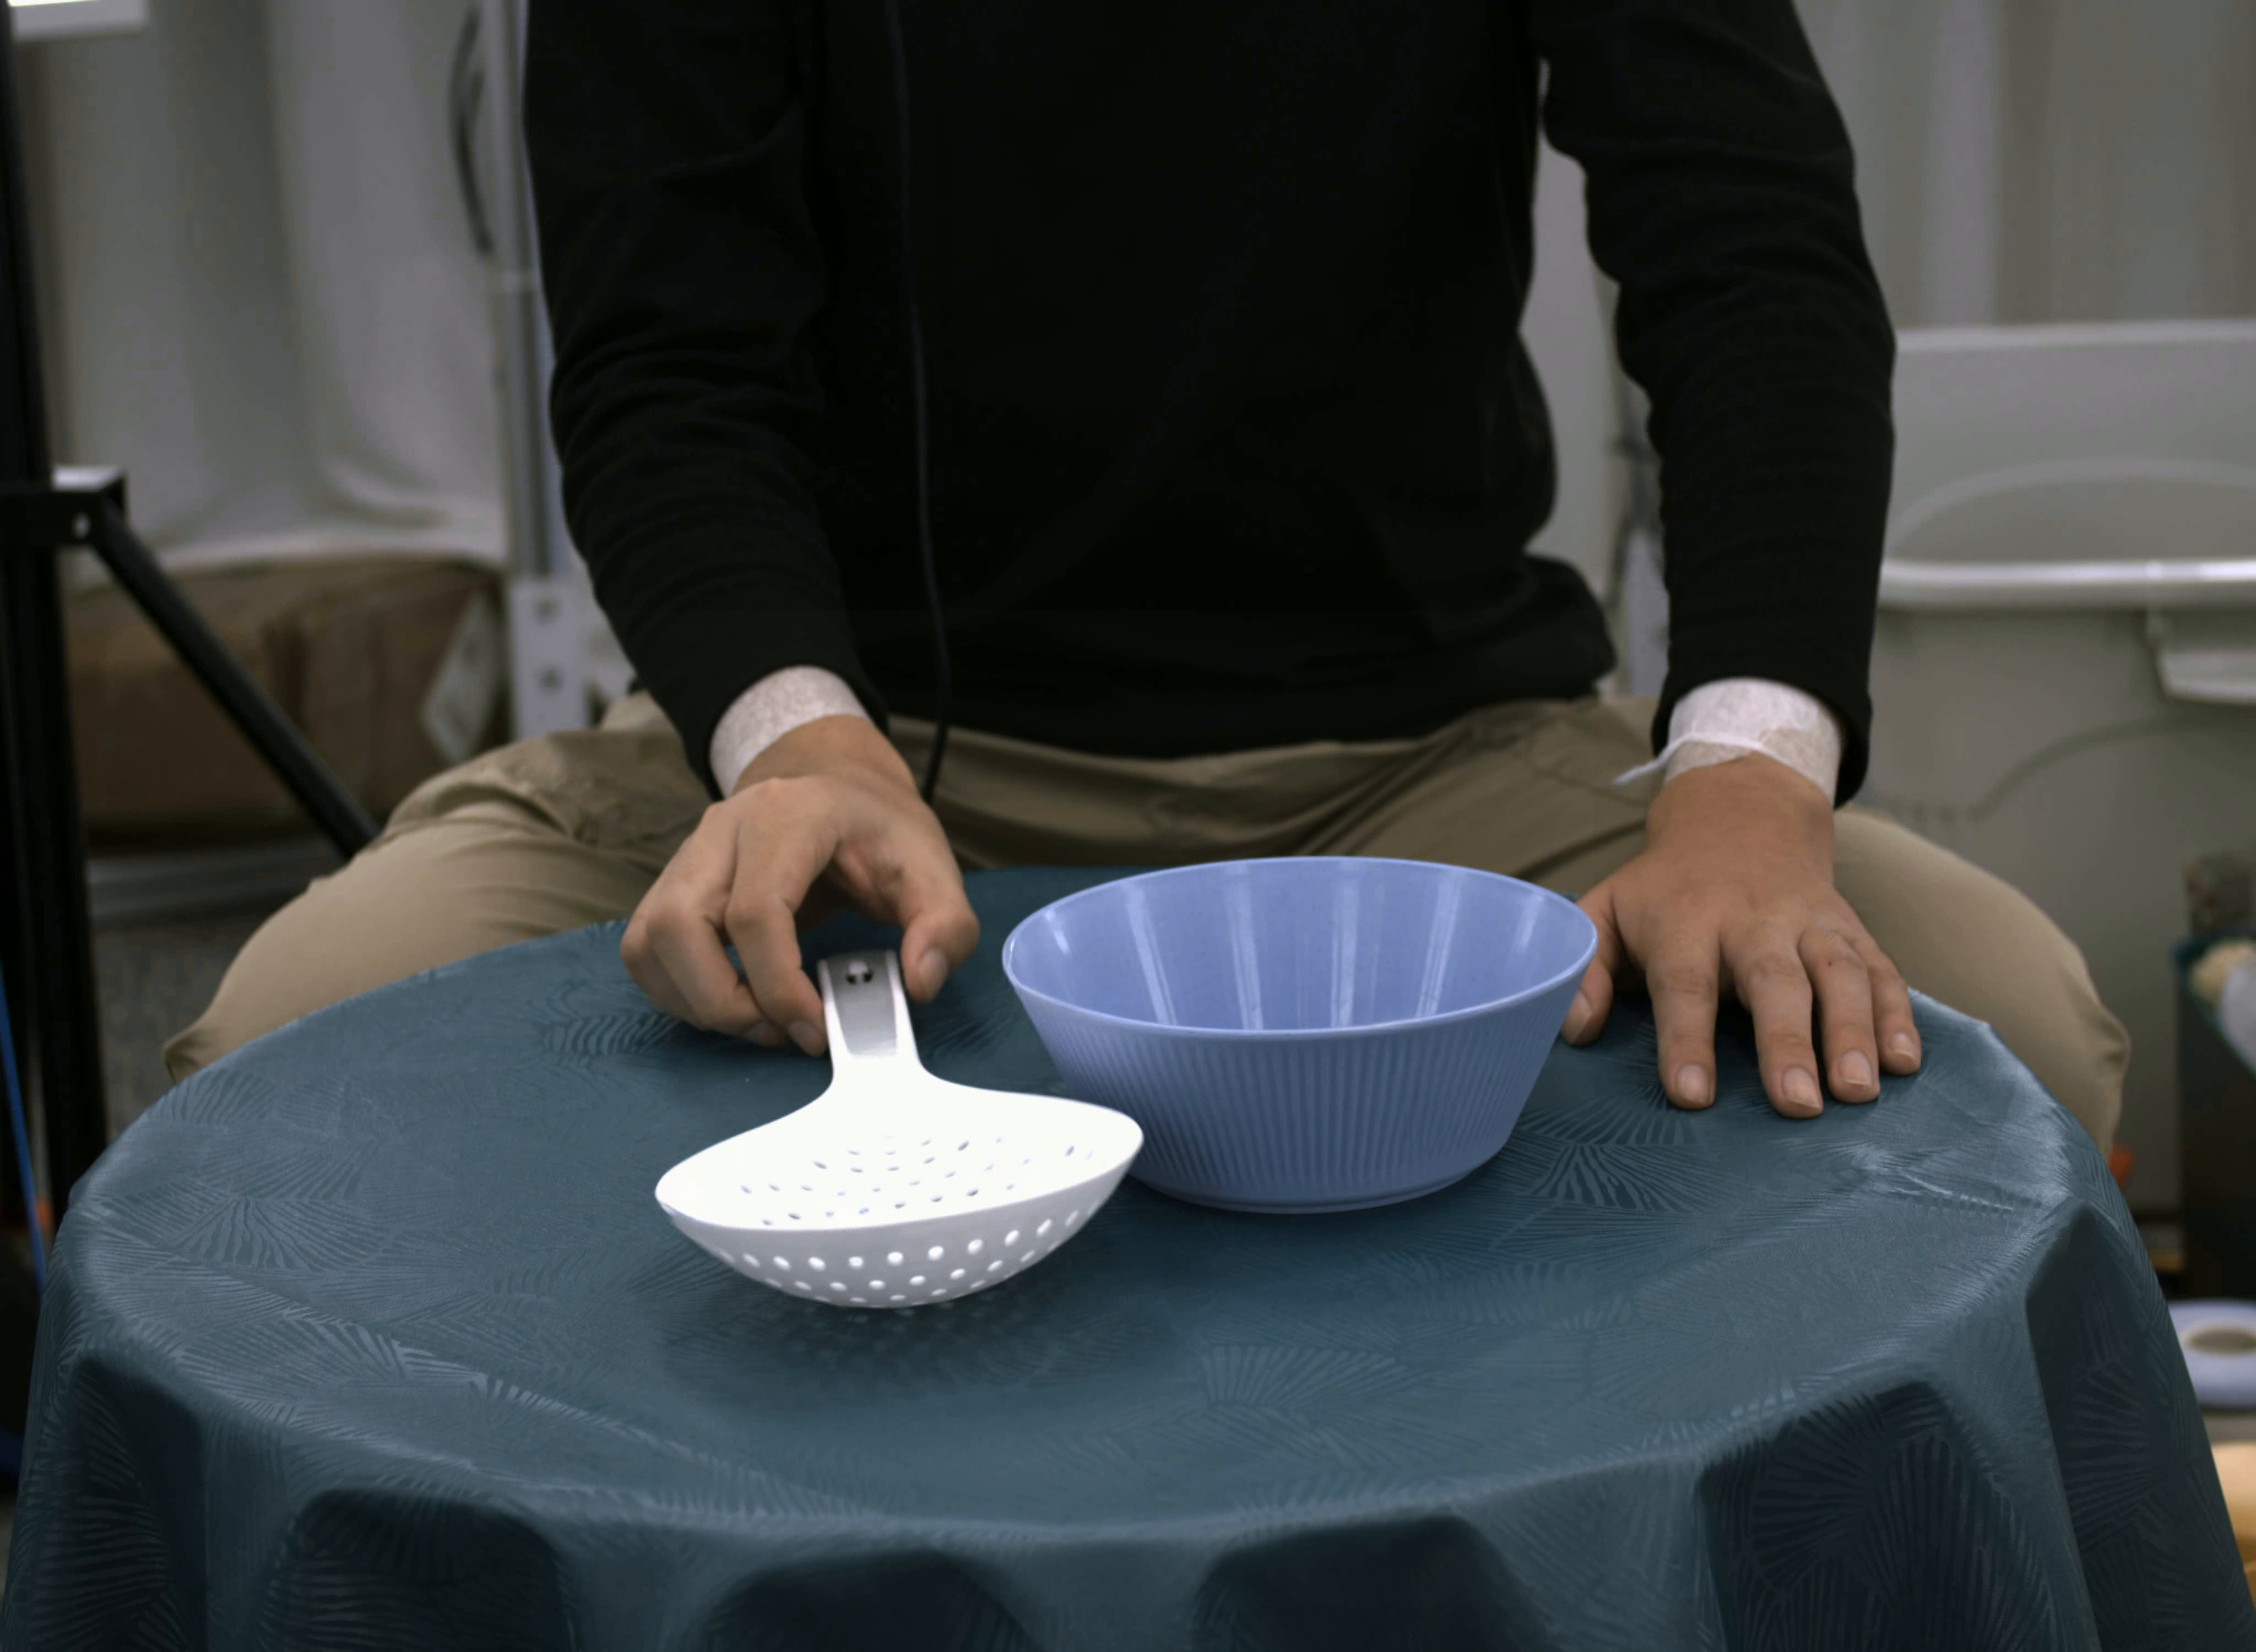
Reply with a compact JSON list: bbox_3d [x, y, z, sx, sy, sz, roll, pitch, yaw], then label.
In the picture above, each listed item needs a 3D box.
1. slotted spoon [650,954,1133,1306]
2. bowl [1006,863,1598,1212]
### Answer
[{"bbox_3d":[-0.075,0.081,1.581,0.135,0.045,0.352,-10,15,-3],"label":"slotted spoon"},{"bbox_3d":[0.052,0.065,1.574,0.175,0.070,0.177,-3,14,-1],"label":"bowl"}]
